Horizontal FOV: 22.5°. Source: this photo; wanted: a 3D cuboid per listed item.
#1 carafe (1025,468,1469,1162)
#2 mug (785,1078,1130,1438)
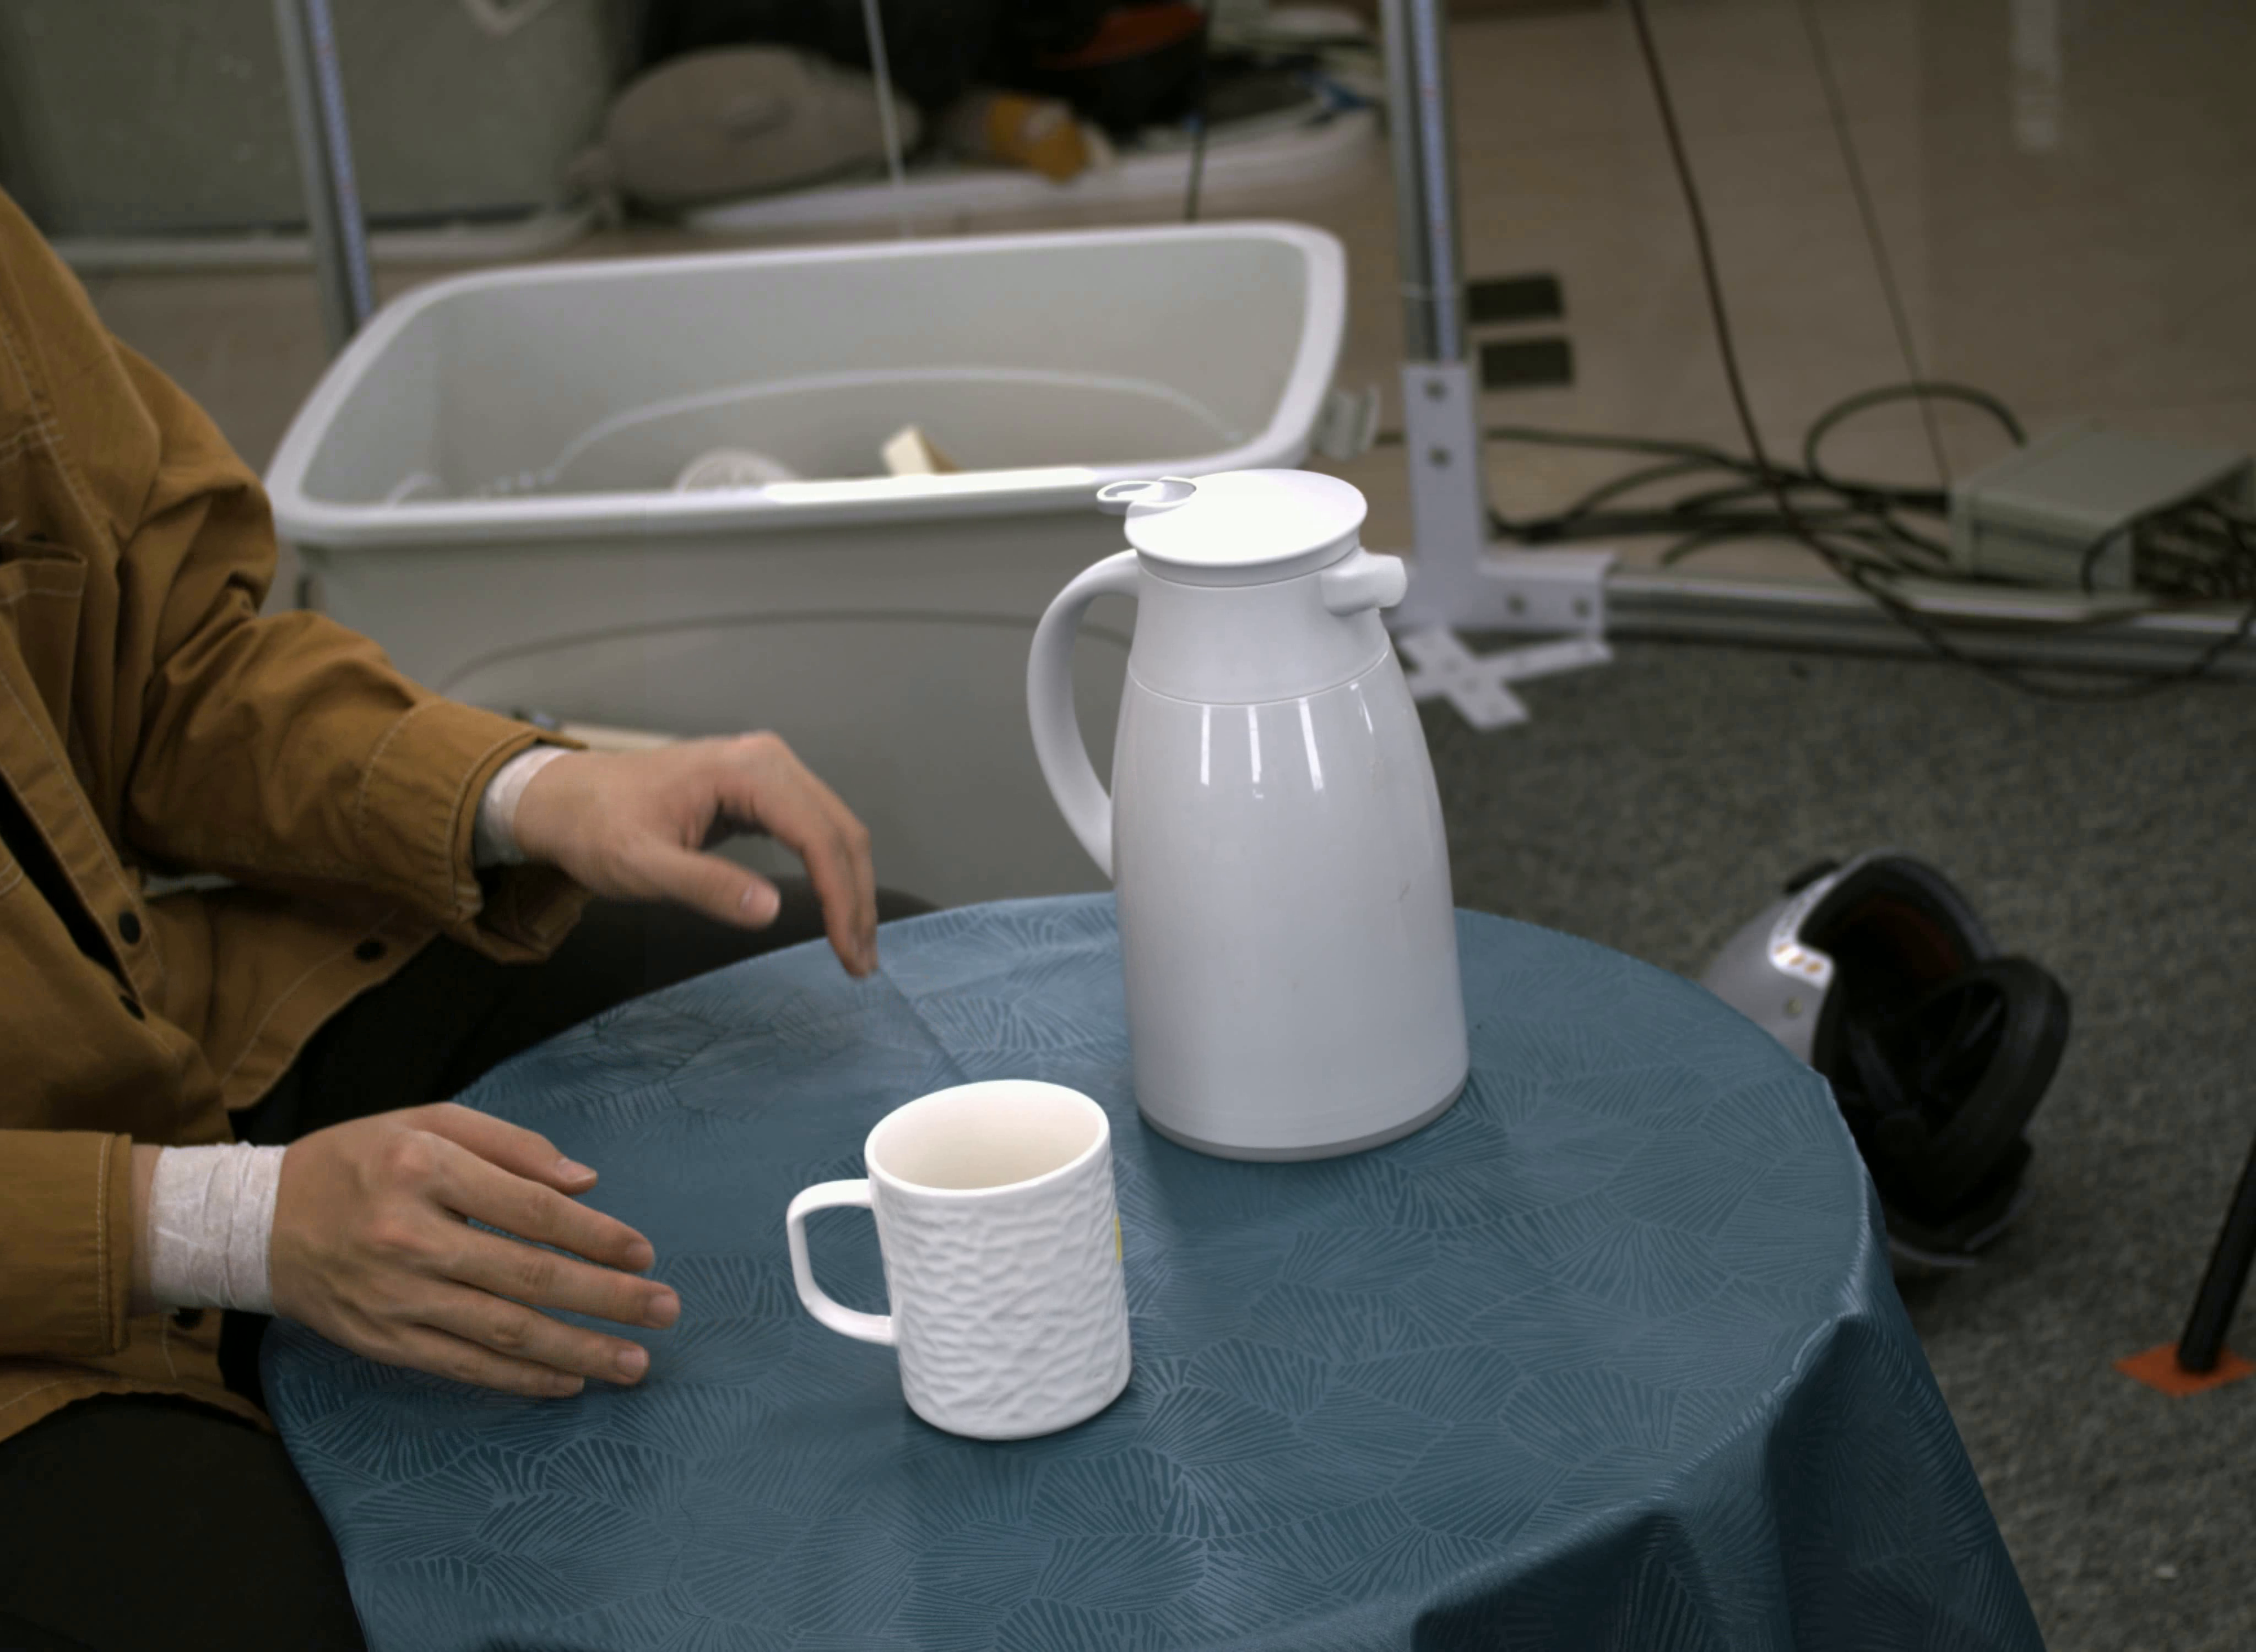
[{"bbox_3d":[0.038,-0.013,2.168,0.167,0.252,0.131,9,30,30],"label":"carafe"},{"bbox_3d":[-0.061,0.154,2.007,0.118,0.103,0.083,-4,26,4],"label":"mug"}]
